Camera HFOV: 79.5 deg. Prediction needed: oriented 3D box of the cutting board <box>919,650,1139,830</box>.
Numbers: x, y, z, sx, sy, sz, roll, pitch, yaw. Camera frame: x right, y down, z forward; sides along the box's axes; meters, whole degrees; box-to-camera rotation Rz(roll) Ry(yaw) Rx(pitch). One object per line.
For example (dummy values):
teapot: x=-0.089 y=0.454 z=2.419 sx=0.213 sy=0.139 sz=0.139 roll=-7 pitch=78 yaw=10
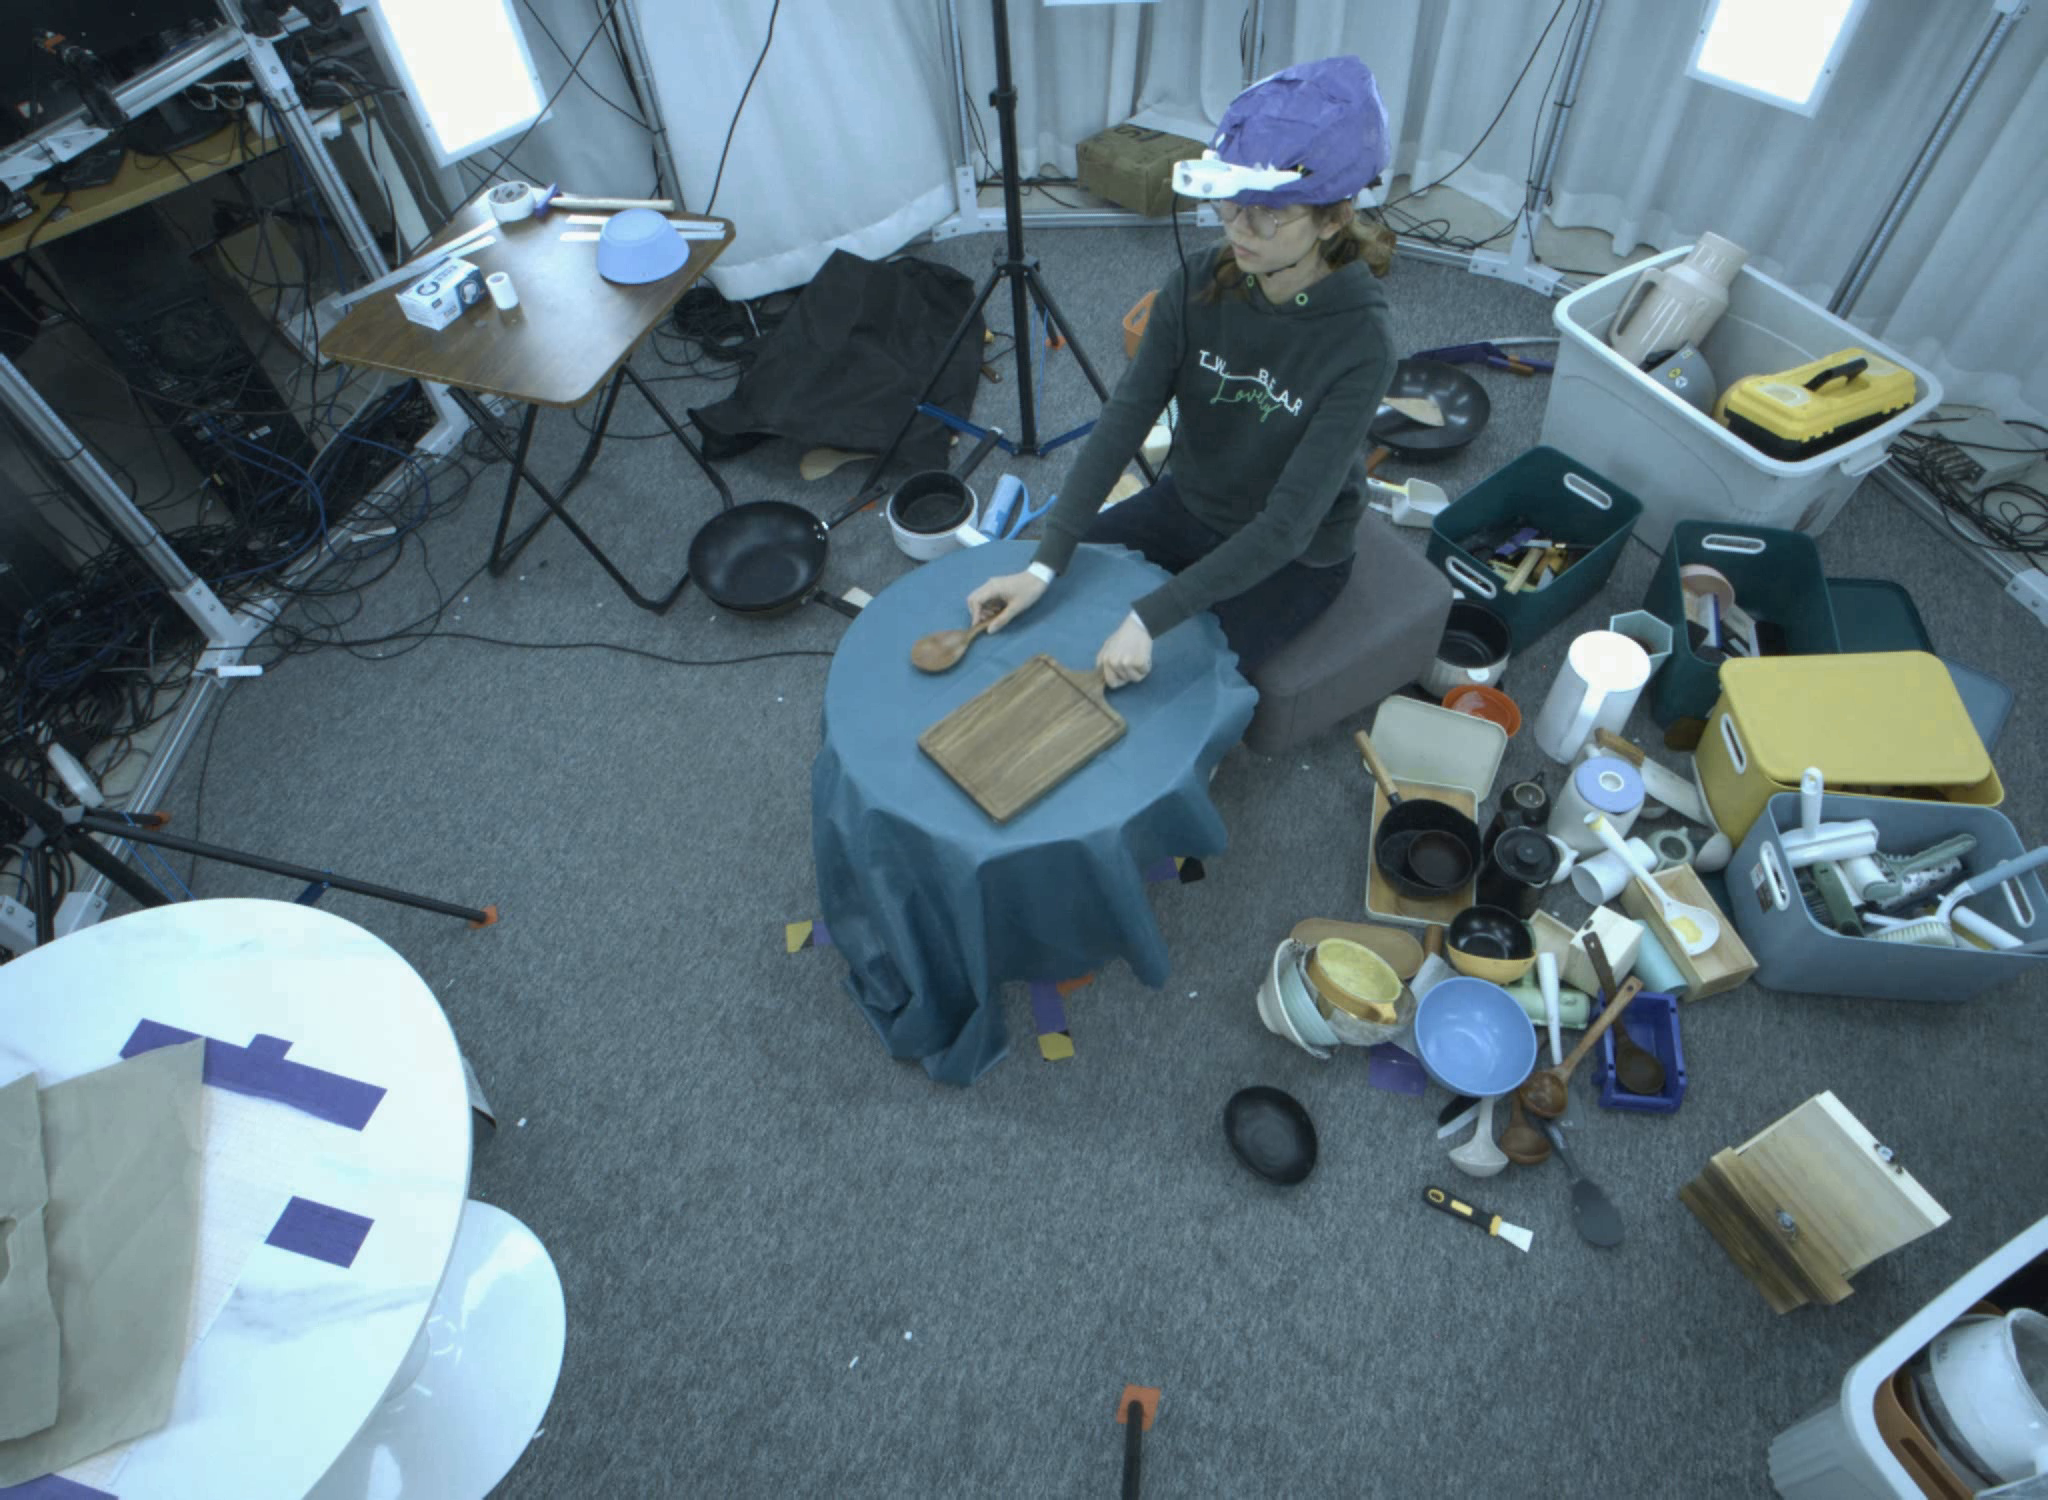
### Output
cutting board: x=0.039 y=-0.044 z=1.814 sx=0.355 sy=0.023 sz=0.197 roll=-36 pitch=60 yaw=-21

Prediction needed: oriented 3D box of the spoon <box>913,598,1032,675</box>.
spoon: x=-0.078 y=-0.179 z=1.914 sx=0.217 sy=0.017 sz=0.074 roll=-33 pitch=58 yaw=-19
